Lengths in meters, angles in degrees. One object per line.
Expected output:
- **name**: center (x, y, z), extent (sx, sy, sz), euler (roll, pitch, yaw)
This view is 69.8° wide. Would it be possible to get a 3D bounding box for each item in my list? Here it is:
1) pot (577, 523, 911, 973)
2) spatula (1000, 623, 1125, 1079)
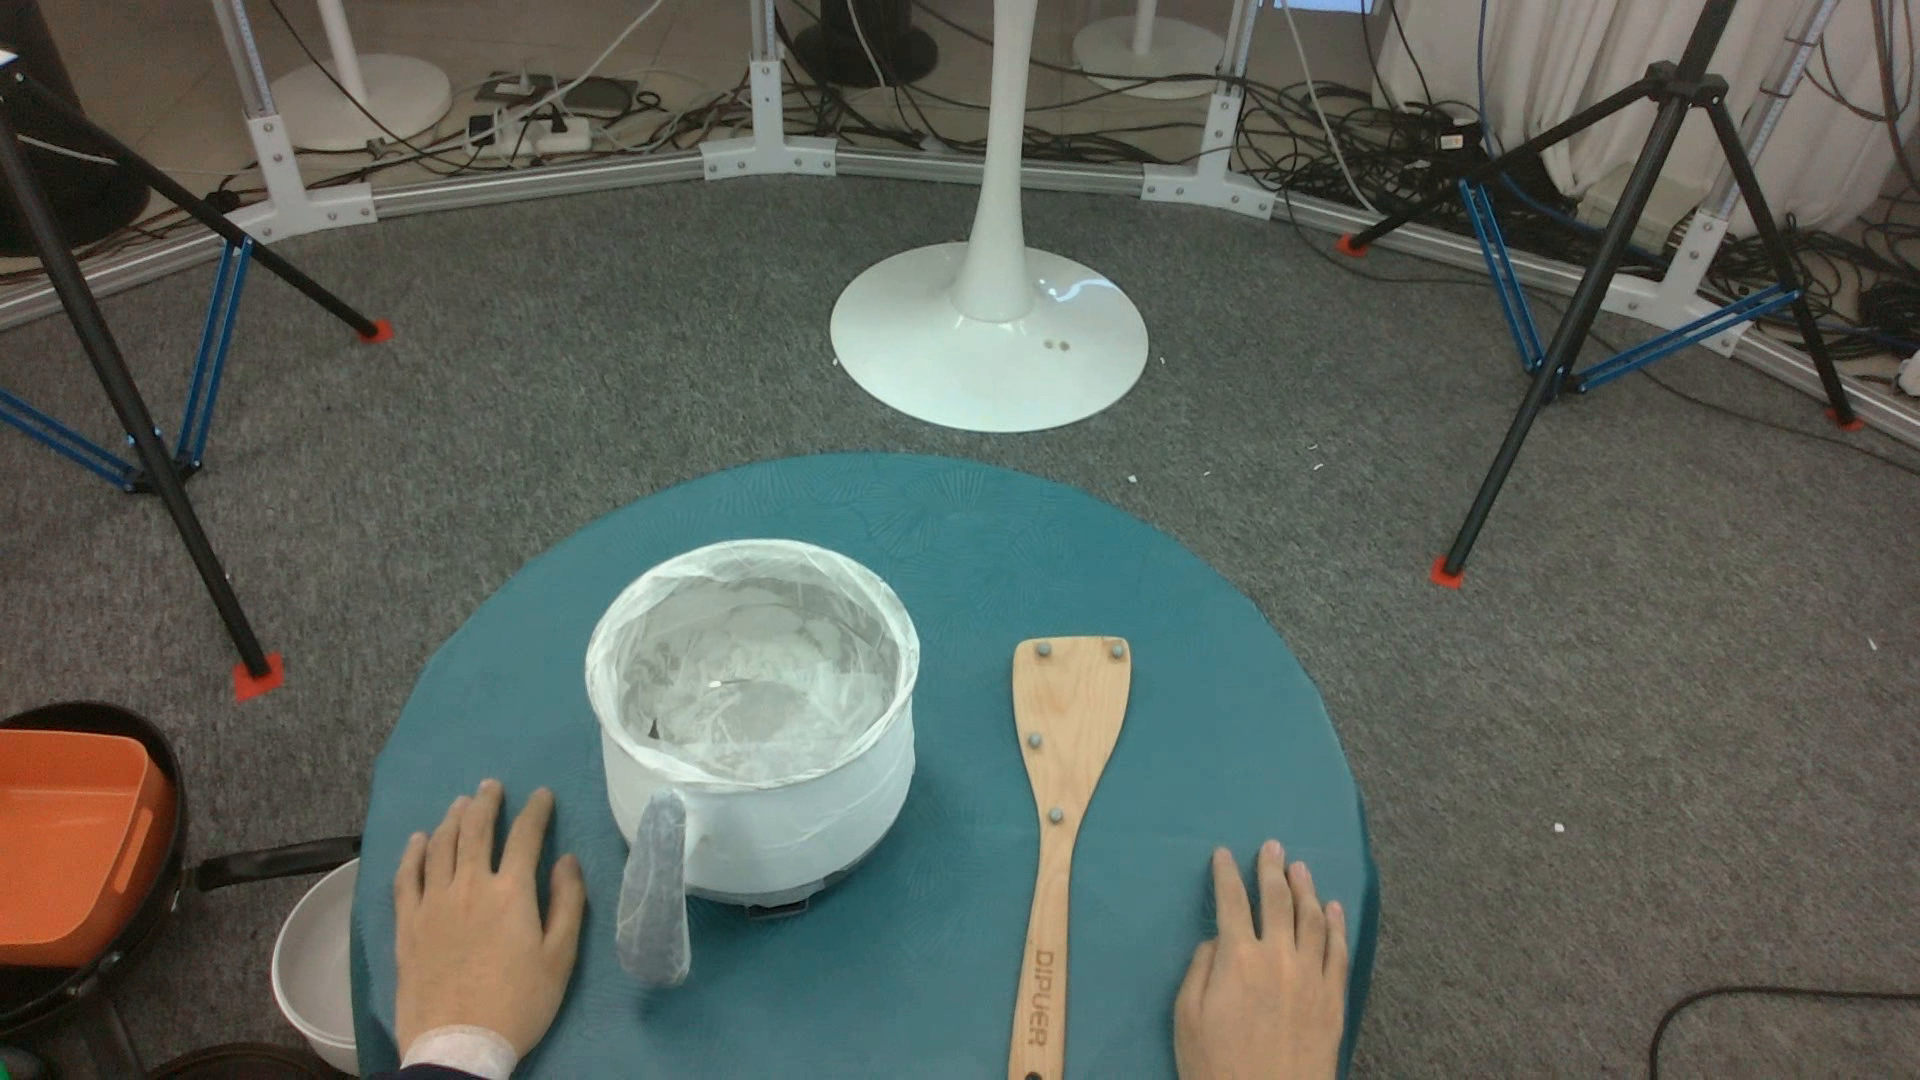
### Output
- **pot**: center (-0.126, 0.115, 0.761), extent (0.178, 0.136, 0.235), euler (13, 44, 10)
- **spatula**: center (0.051, 0.173, 0.809), extent (0.080, 0.016, 0.329), euler (7, 45, 3)
